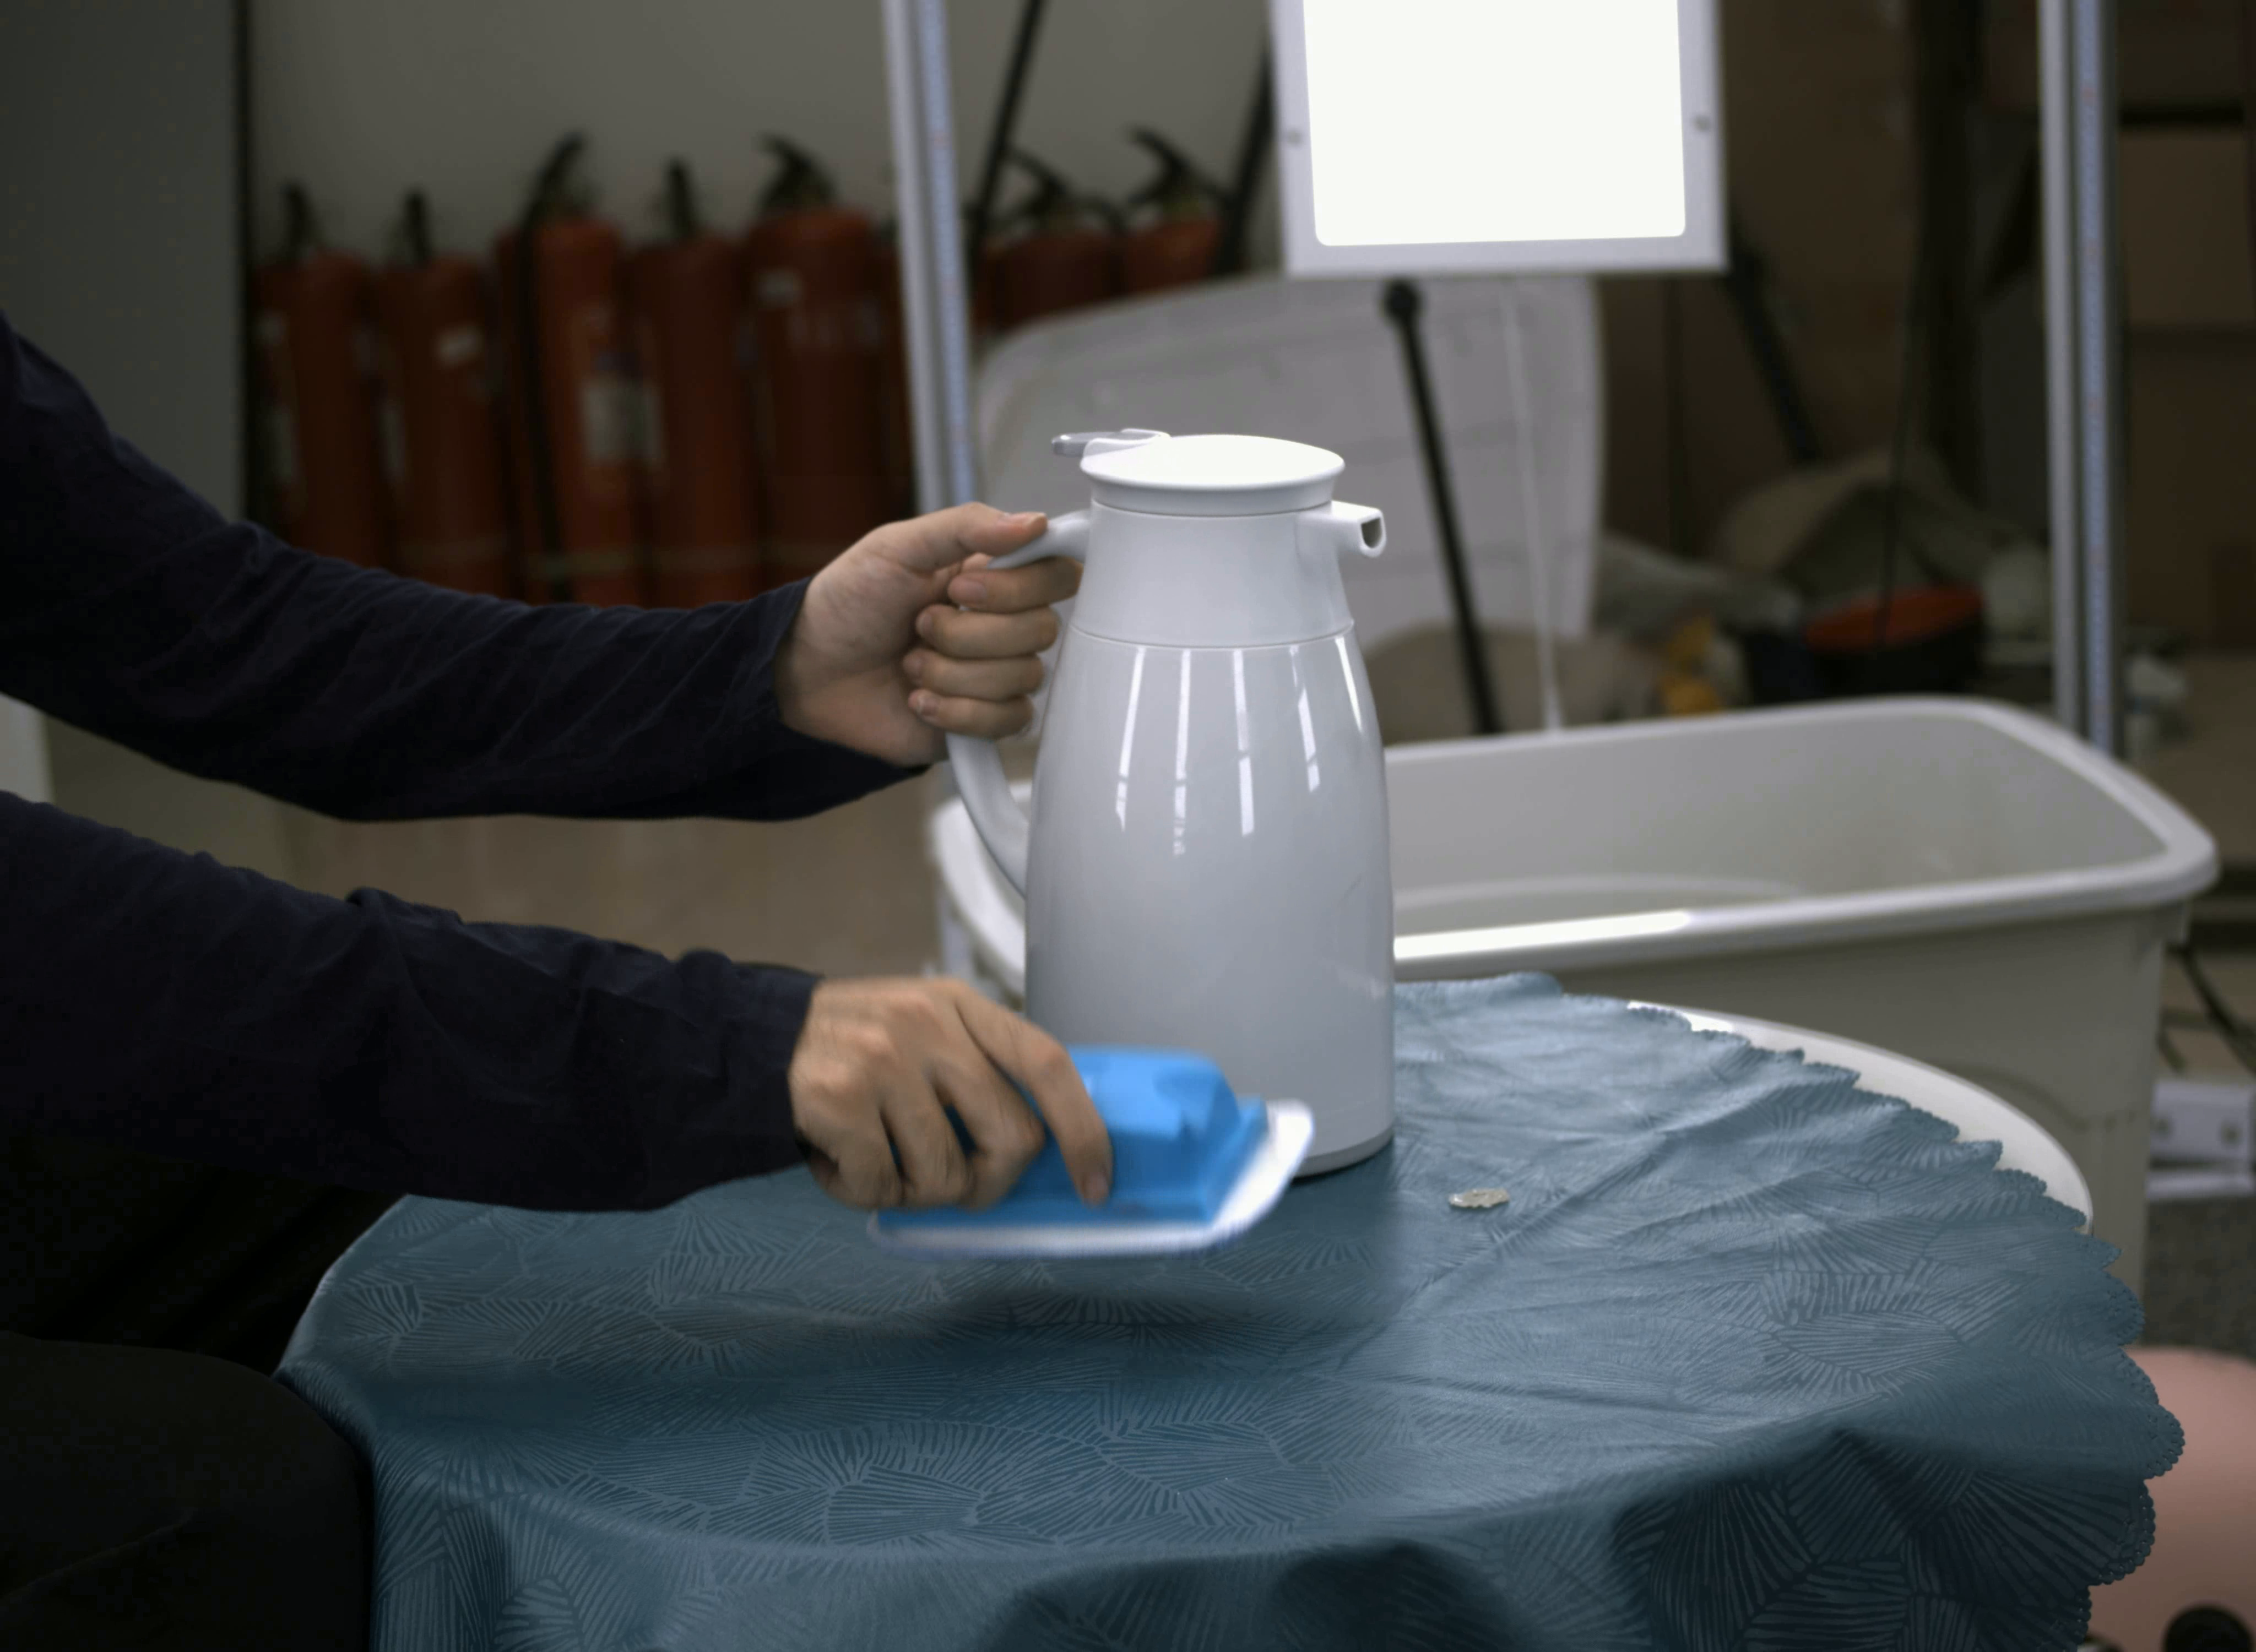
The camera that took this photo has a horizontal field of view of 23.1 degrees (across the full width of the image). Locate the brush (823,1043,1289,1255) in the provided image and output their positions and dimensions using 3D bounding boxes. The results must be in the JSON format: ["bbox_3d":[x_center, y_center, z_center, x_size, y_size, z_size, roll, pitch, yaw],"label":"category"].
[{"bbox_3d":[-0.025,0.101,1.759,0.146,0.056,0.082,2,26,30],"label":"brush"}]

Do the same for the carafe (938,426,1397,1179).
[{"bbox_3d":[0.011,-0.014,1.924,0.170,0.250,0.130,5,14,27],"label":"carafe"}]
